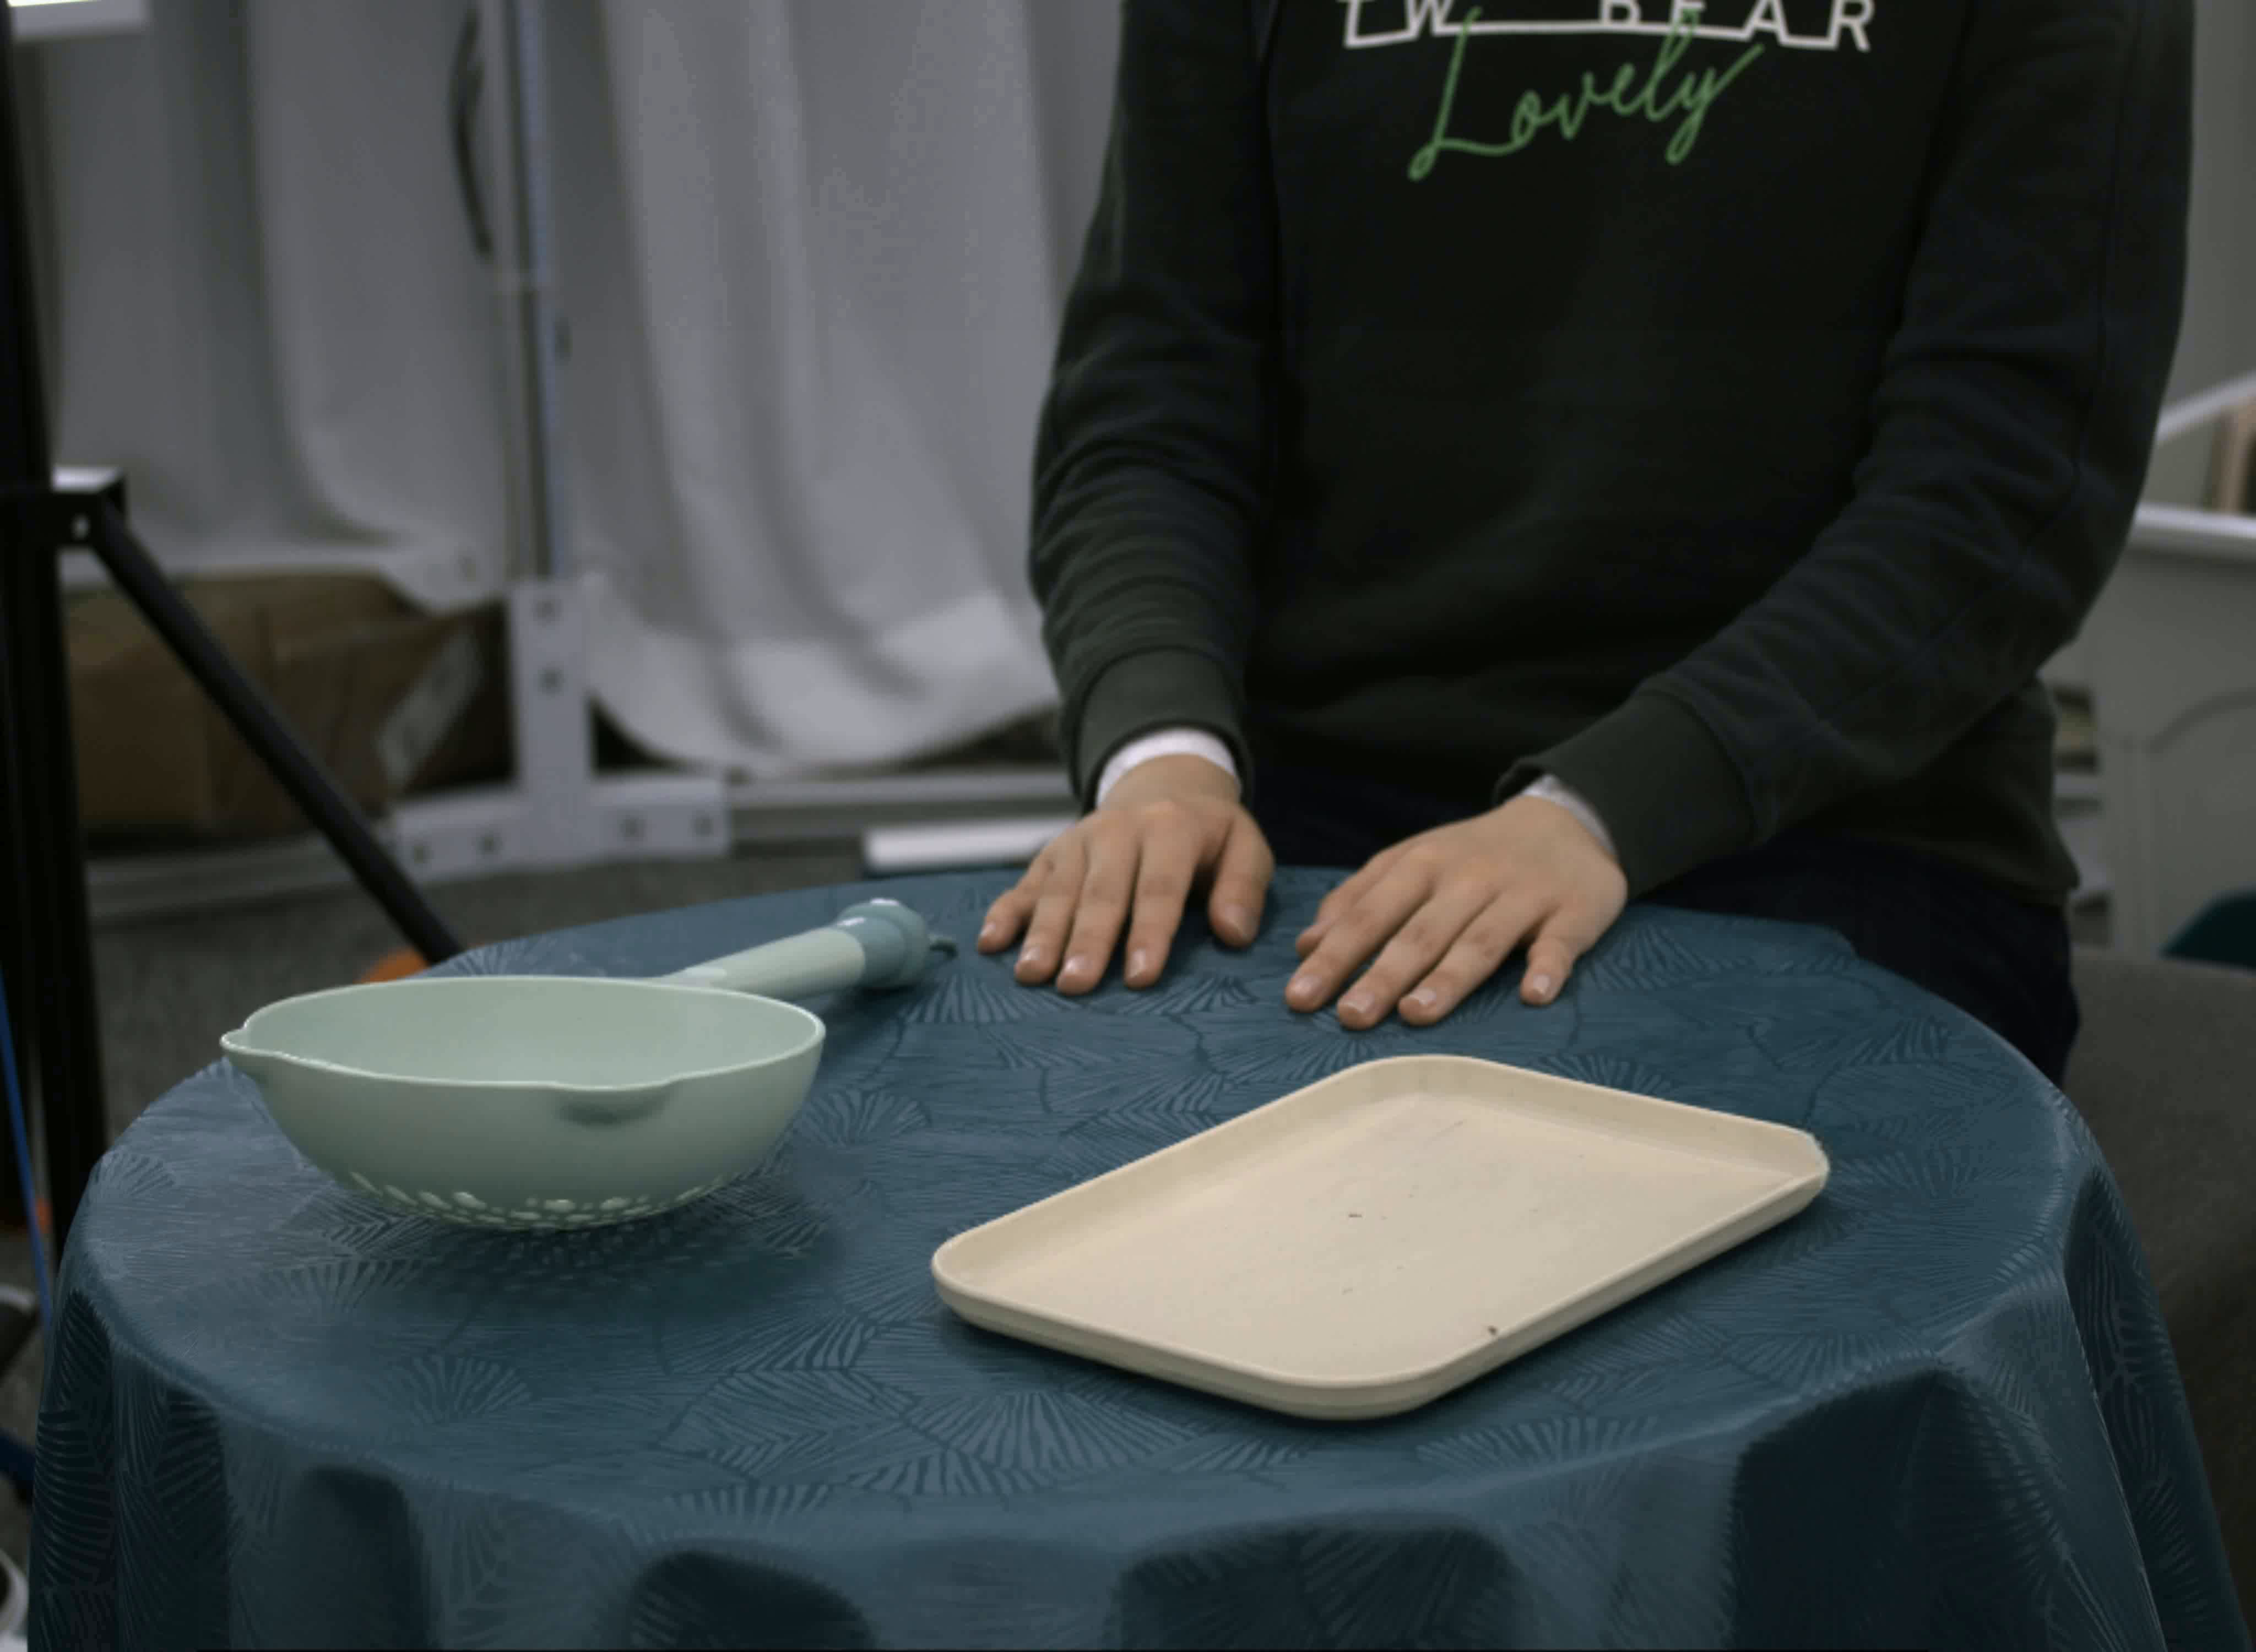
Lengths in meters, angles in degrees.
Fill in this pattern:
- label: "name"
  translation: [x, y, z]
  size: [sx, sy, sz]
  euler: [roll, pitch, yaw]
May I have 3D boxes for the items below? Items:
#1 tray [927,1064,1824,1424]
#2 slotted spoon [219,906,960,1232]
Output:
- label: "tray"
  translation: [0.073, 0.116, 1.489]
  size: [0.175, 0.017, 0.234]
  euler: [11, 20, 40]
- label: "slotted spoon"
  translation: [-0.134, 0.059, 1.638]
  size: [0.172, 0.075, 0.354]
  euler: [5, 17, 23]
